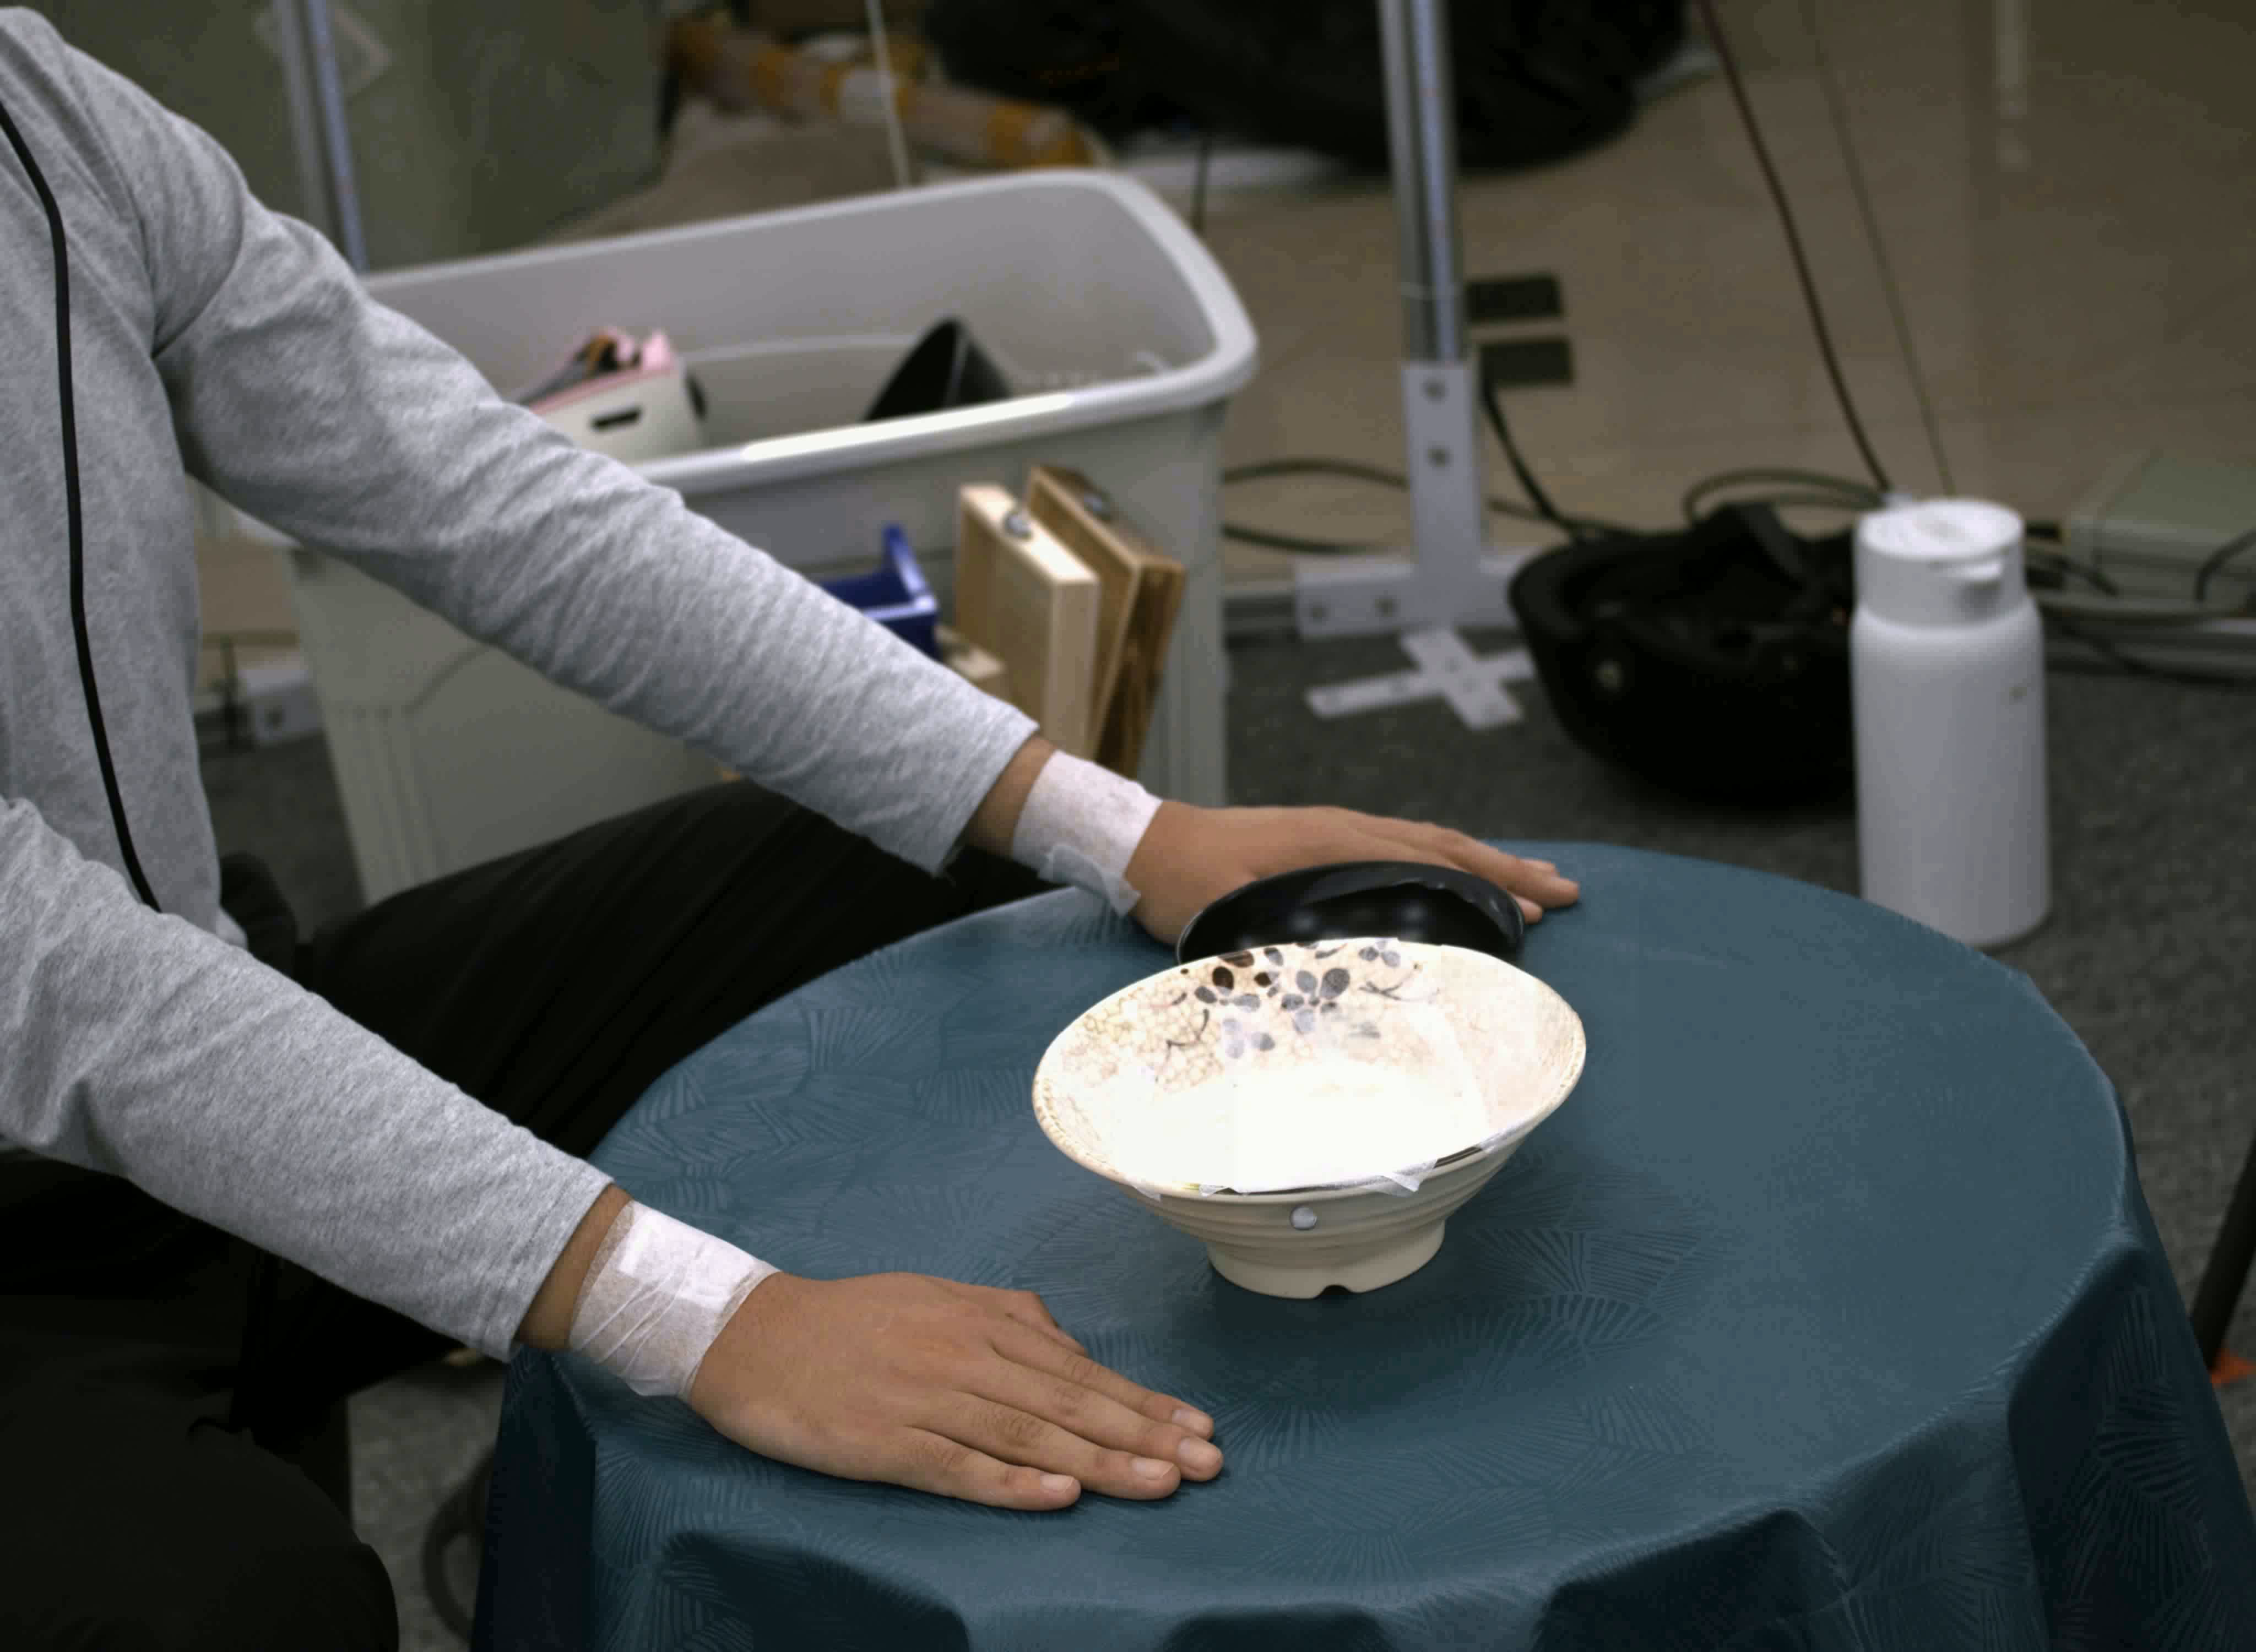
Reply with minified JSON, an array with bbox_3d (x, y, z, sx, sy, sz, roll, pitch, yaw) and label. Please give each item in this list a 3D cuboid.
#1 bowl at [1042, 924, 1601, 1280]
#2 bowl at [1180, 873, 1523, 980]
[{"bbox_3d":[0.069,0.112,2.071,0.203,0.079,0.201,1,25,-1],"label":"bowl"},{"bbox_3d":[0.090,0.068,2.232,0.140,0.050,0.138,-9,21,4],"label":"bowl"}]
